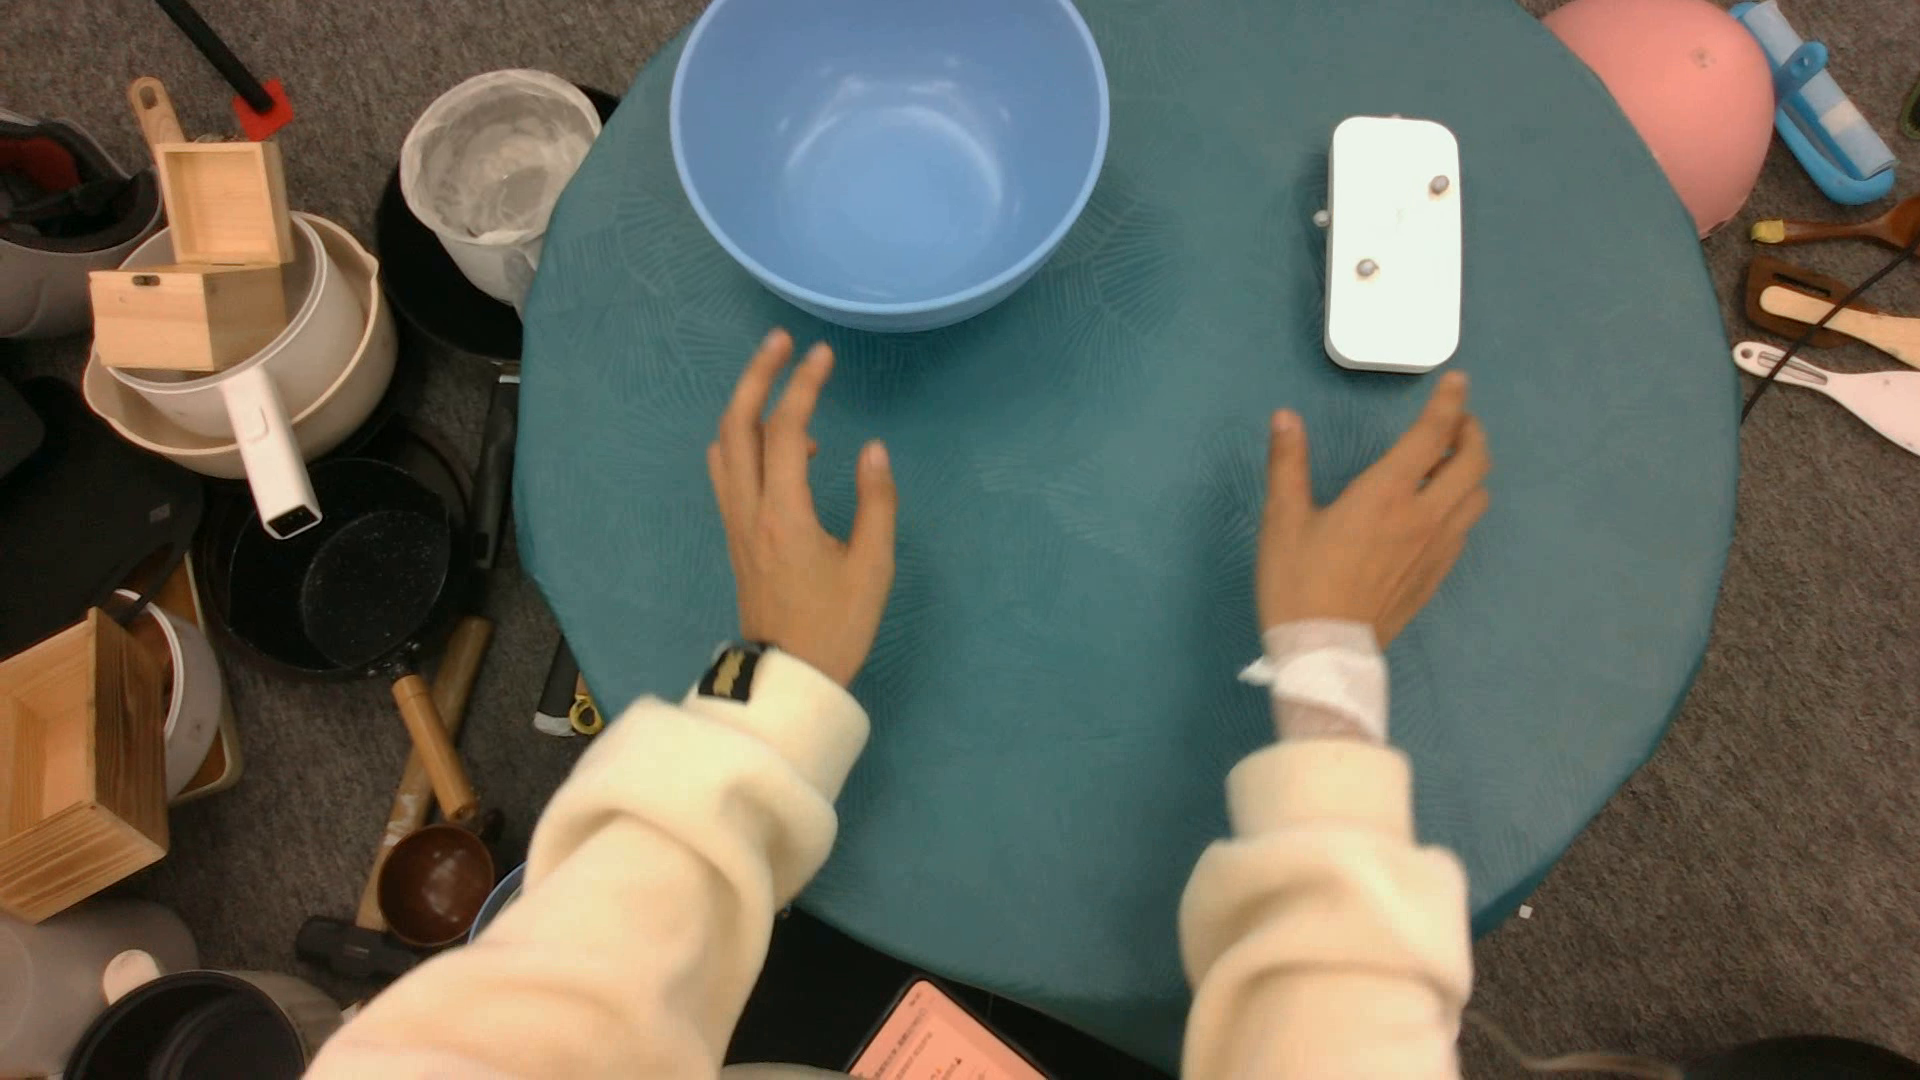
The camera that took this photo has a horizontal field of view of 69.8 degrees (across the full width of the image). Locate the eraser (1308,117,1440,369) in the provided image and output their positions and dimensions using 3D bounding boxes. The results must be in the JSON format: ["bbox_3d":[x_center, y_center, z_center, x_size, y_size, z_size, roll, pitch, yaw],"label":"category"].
[{"bbox_3d":[0.202,-0.149,0.683,0.063,0.034,0.131,4,74,3],"label":"eraser"}]

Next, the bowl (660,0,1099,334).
[{"bbox_3d":[-0.038,-0.176,0.659,0.196,0.095,0.197,1,70,-3],"label":"bowl"}]
